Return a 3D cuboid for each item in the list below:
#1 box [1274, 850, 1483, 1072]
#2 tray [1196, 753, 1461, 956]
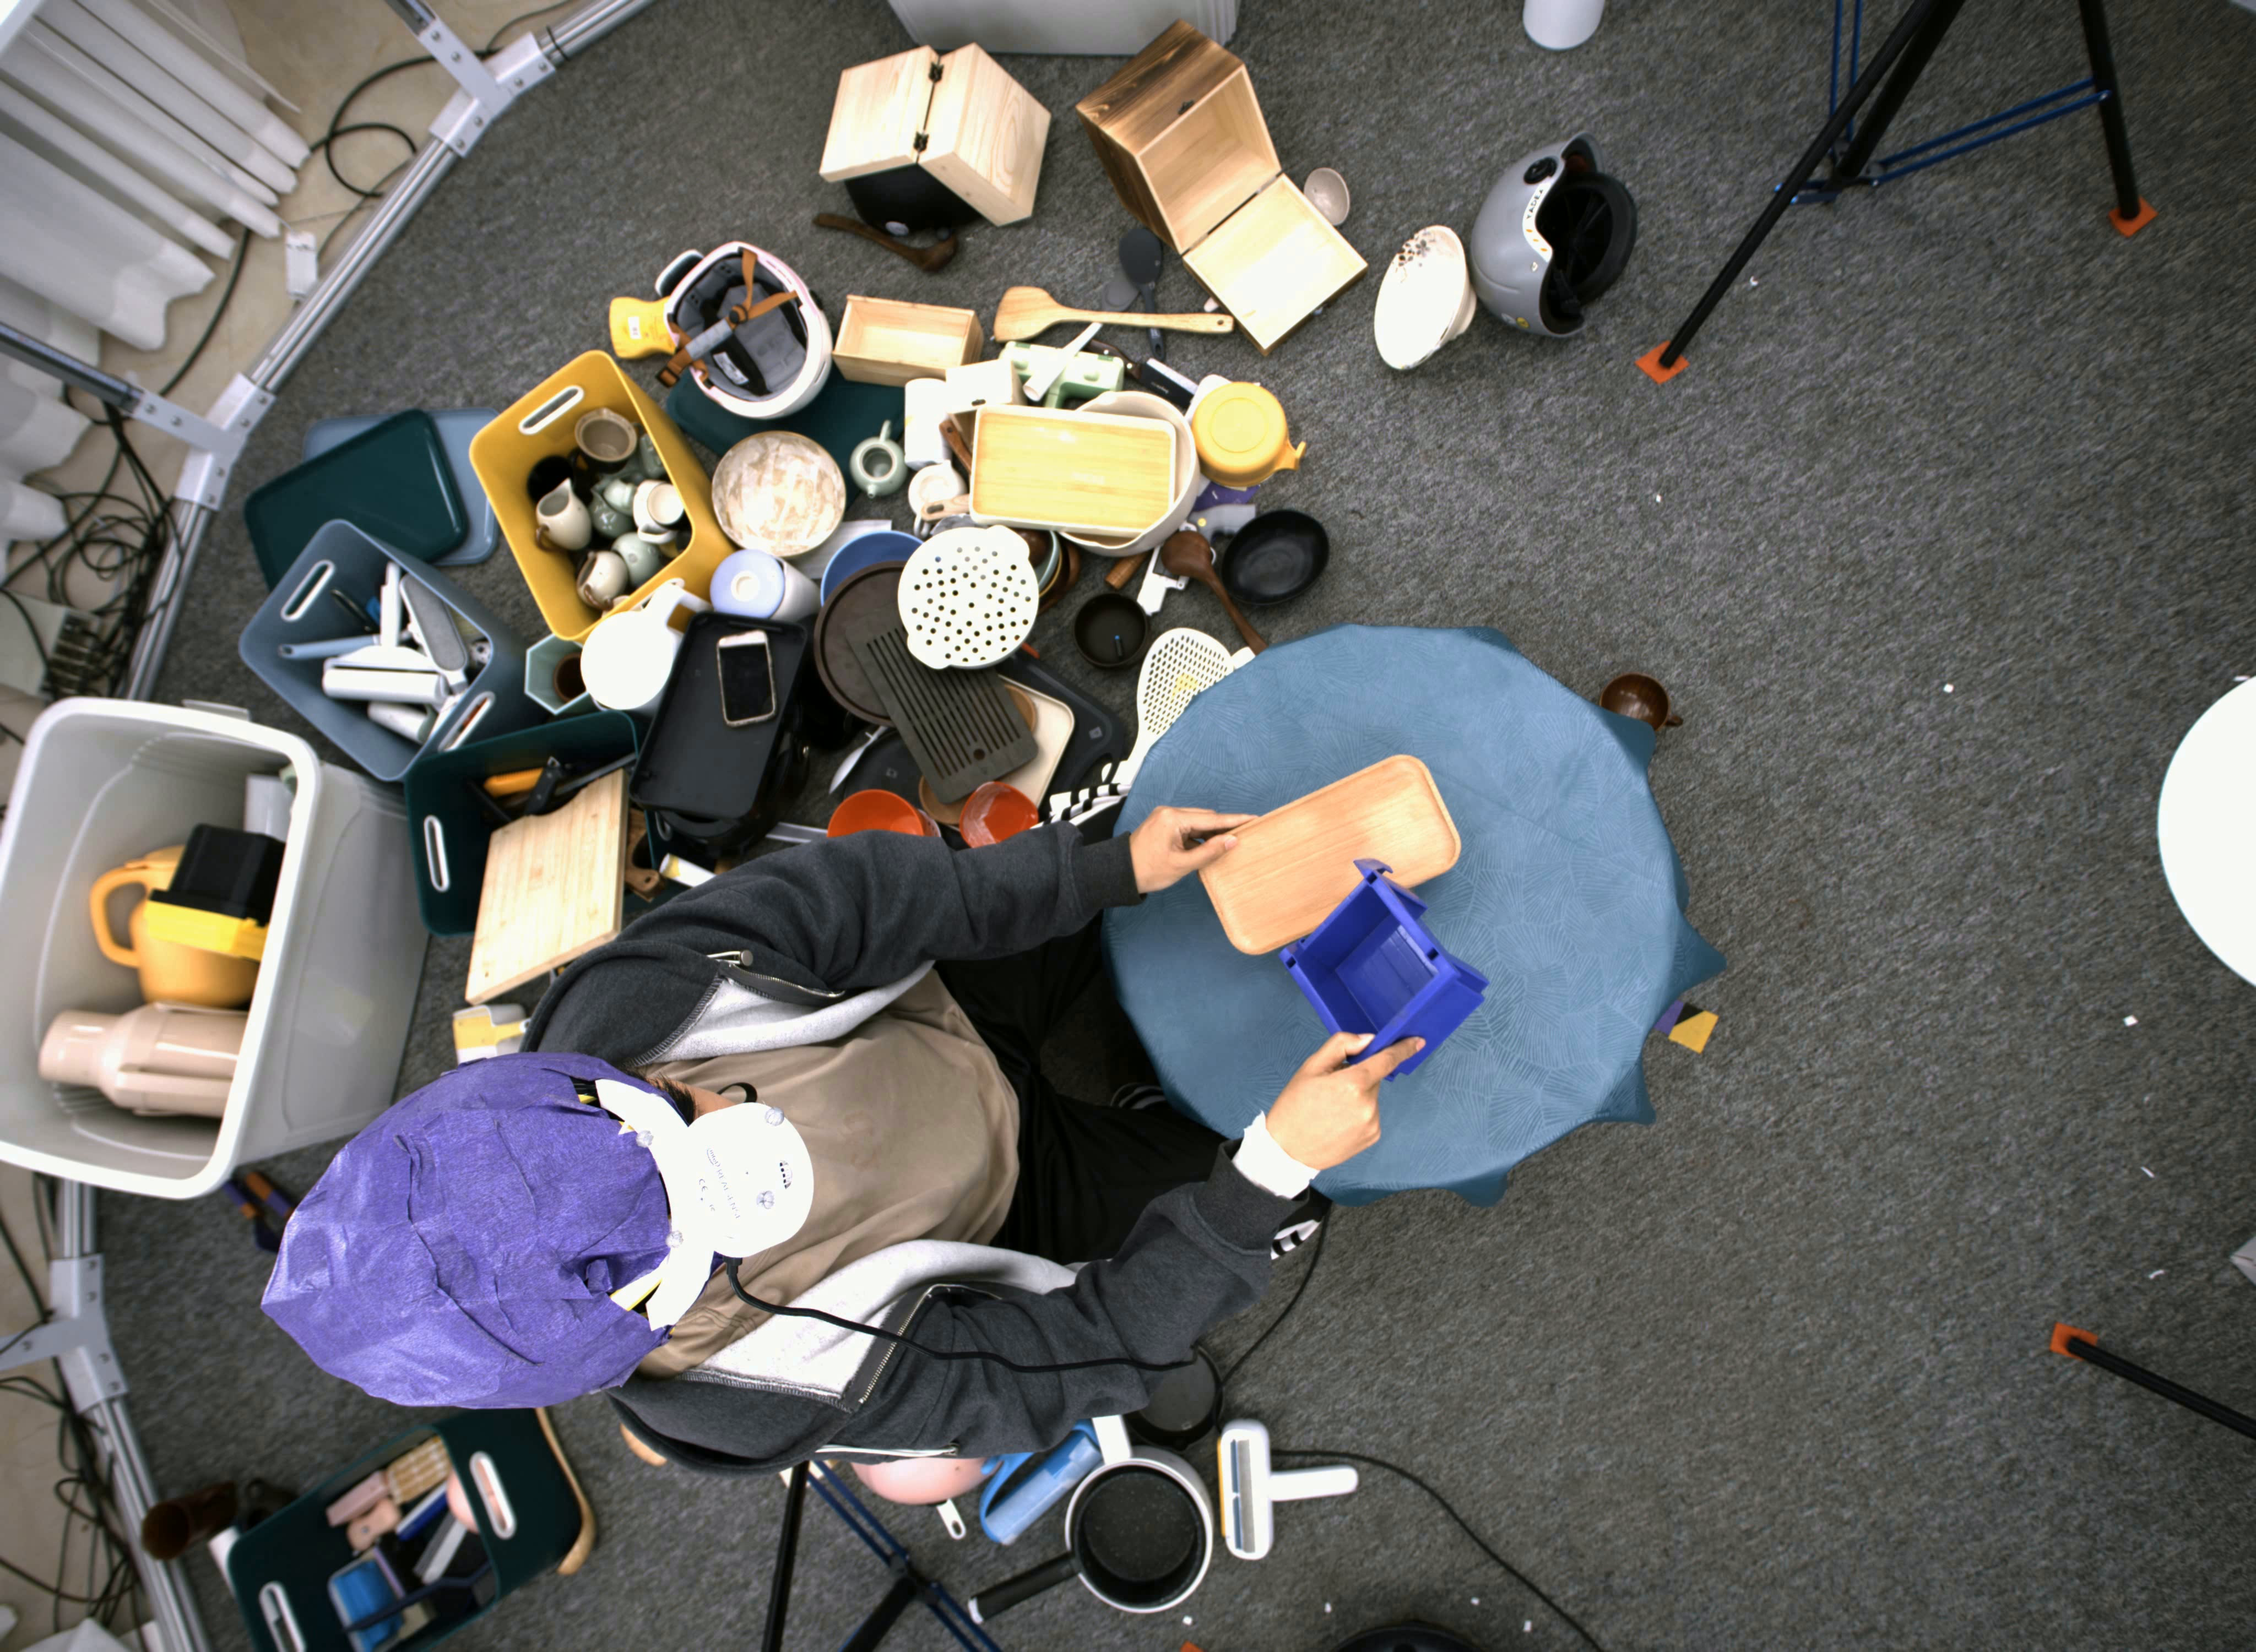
[{"bbox_3d":[0.217,0.118,1.231,0.126,0.082,0.176,-47,47,18],"label":"box"},{"bbox_3d":[0.199,0.028,1.378,0.252,0.023,0.130,-25,88,8],"label":"tray"}]
